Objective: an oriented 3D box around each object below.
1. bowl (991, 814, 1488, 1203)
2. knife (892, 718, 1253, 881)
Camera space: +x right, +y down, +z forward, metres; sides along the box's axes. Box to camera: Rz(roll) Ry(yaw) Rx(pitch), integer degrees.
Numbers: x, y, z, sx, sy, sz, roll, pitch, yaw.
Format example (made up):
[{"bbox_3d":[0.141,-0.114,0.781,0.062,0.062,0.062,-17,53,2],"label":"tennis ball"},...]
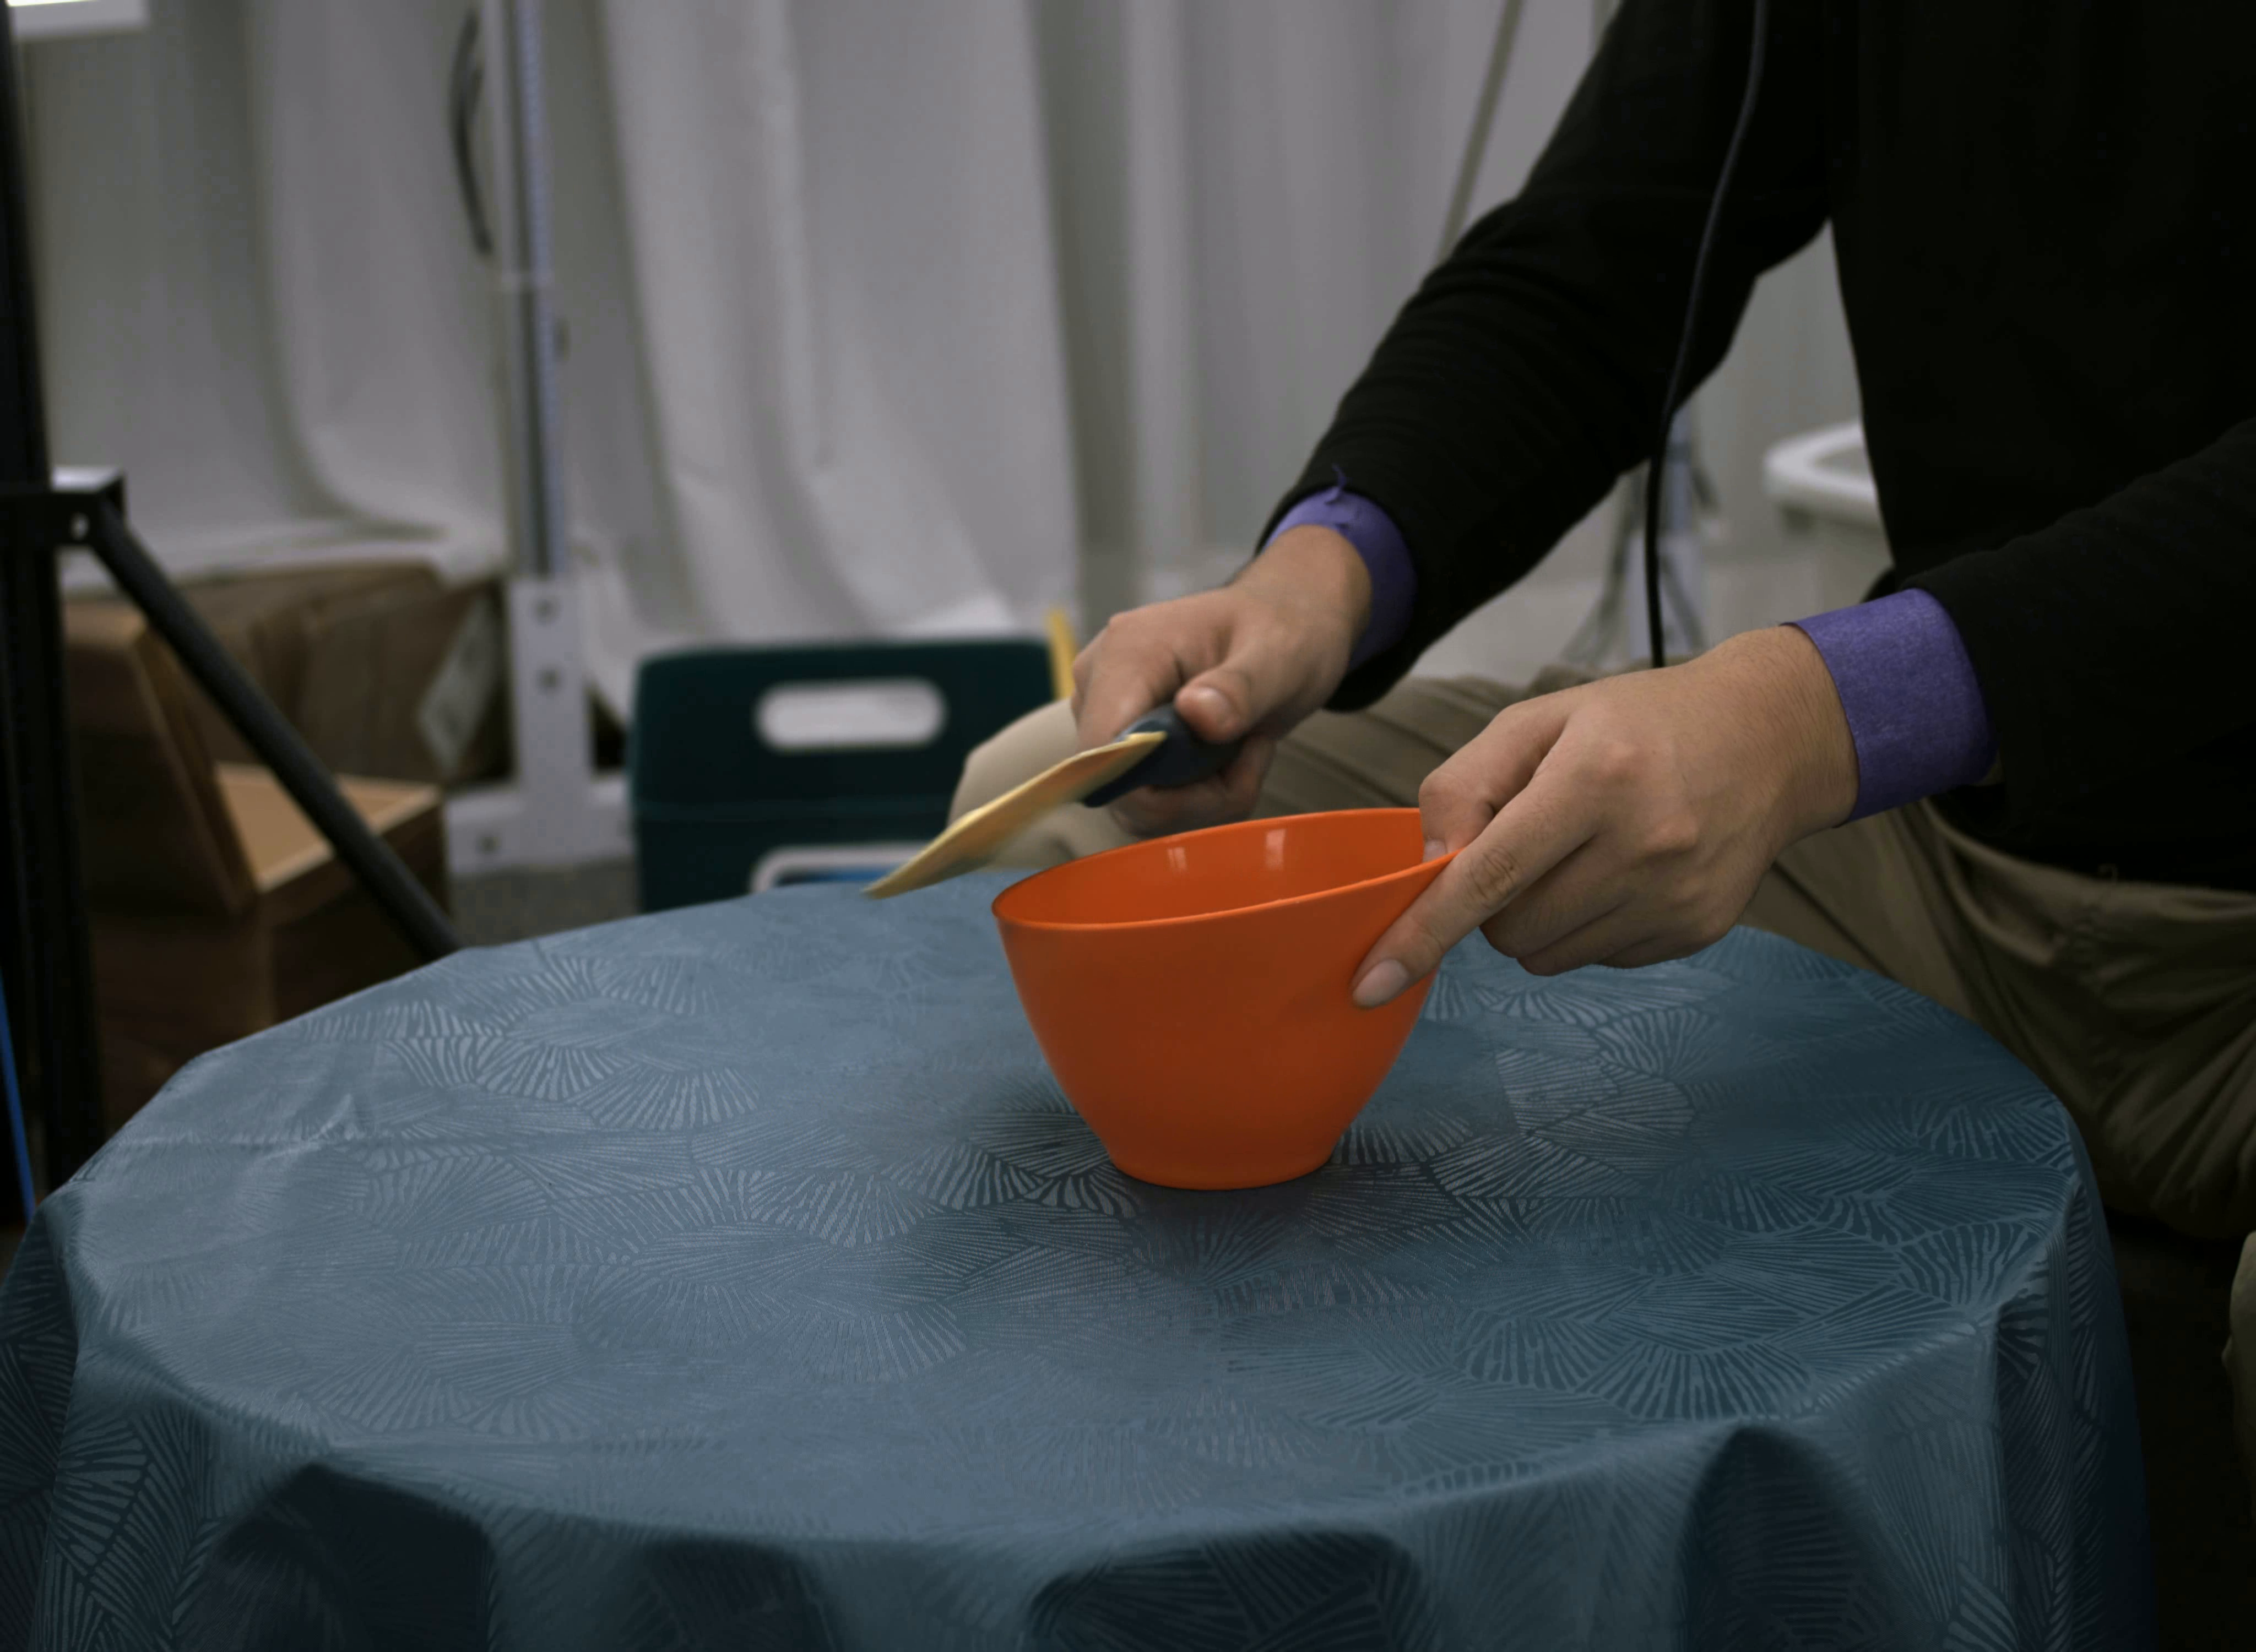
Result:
[{"bbox_3d":[0.035,0.053,1.562,0.147,0.104,0.149,-4,14,0],"label":"bowl"},{"bbox_3d":[-0.014,-0.007,1.644,0.081,0.027,0.285,-34,-6,16],"label":"knife"}]
